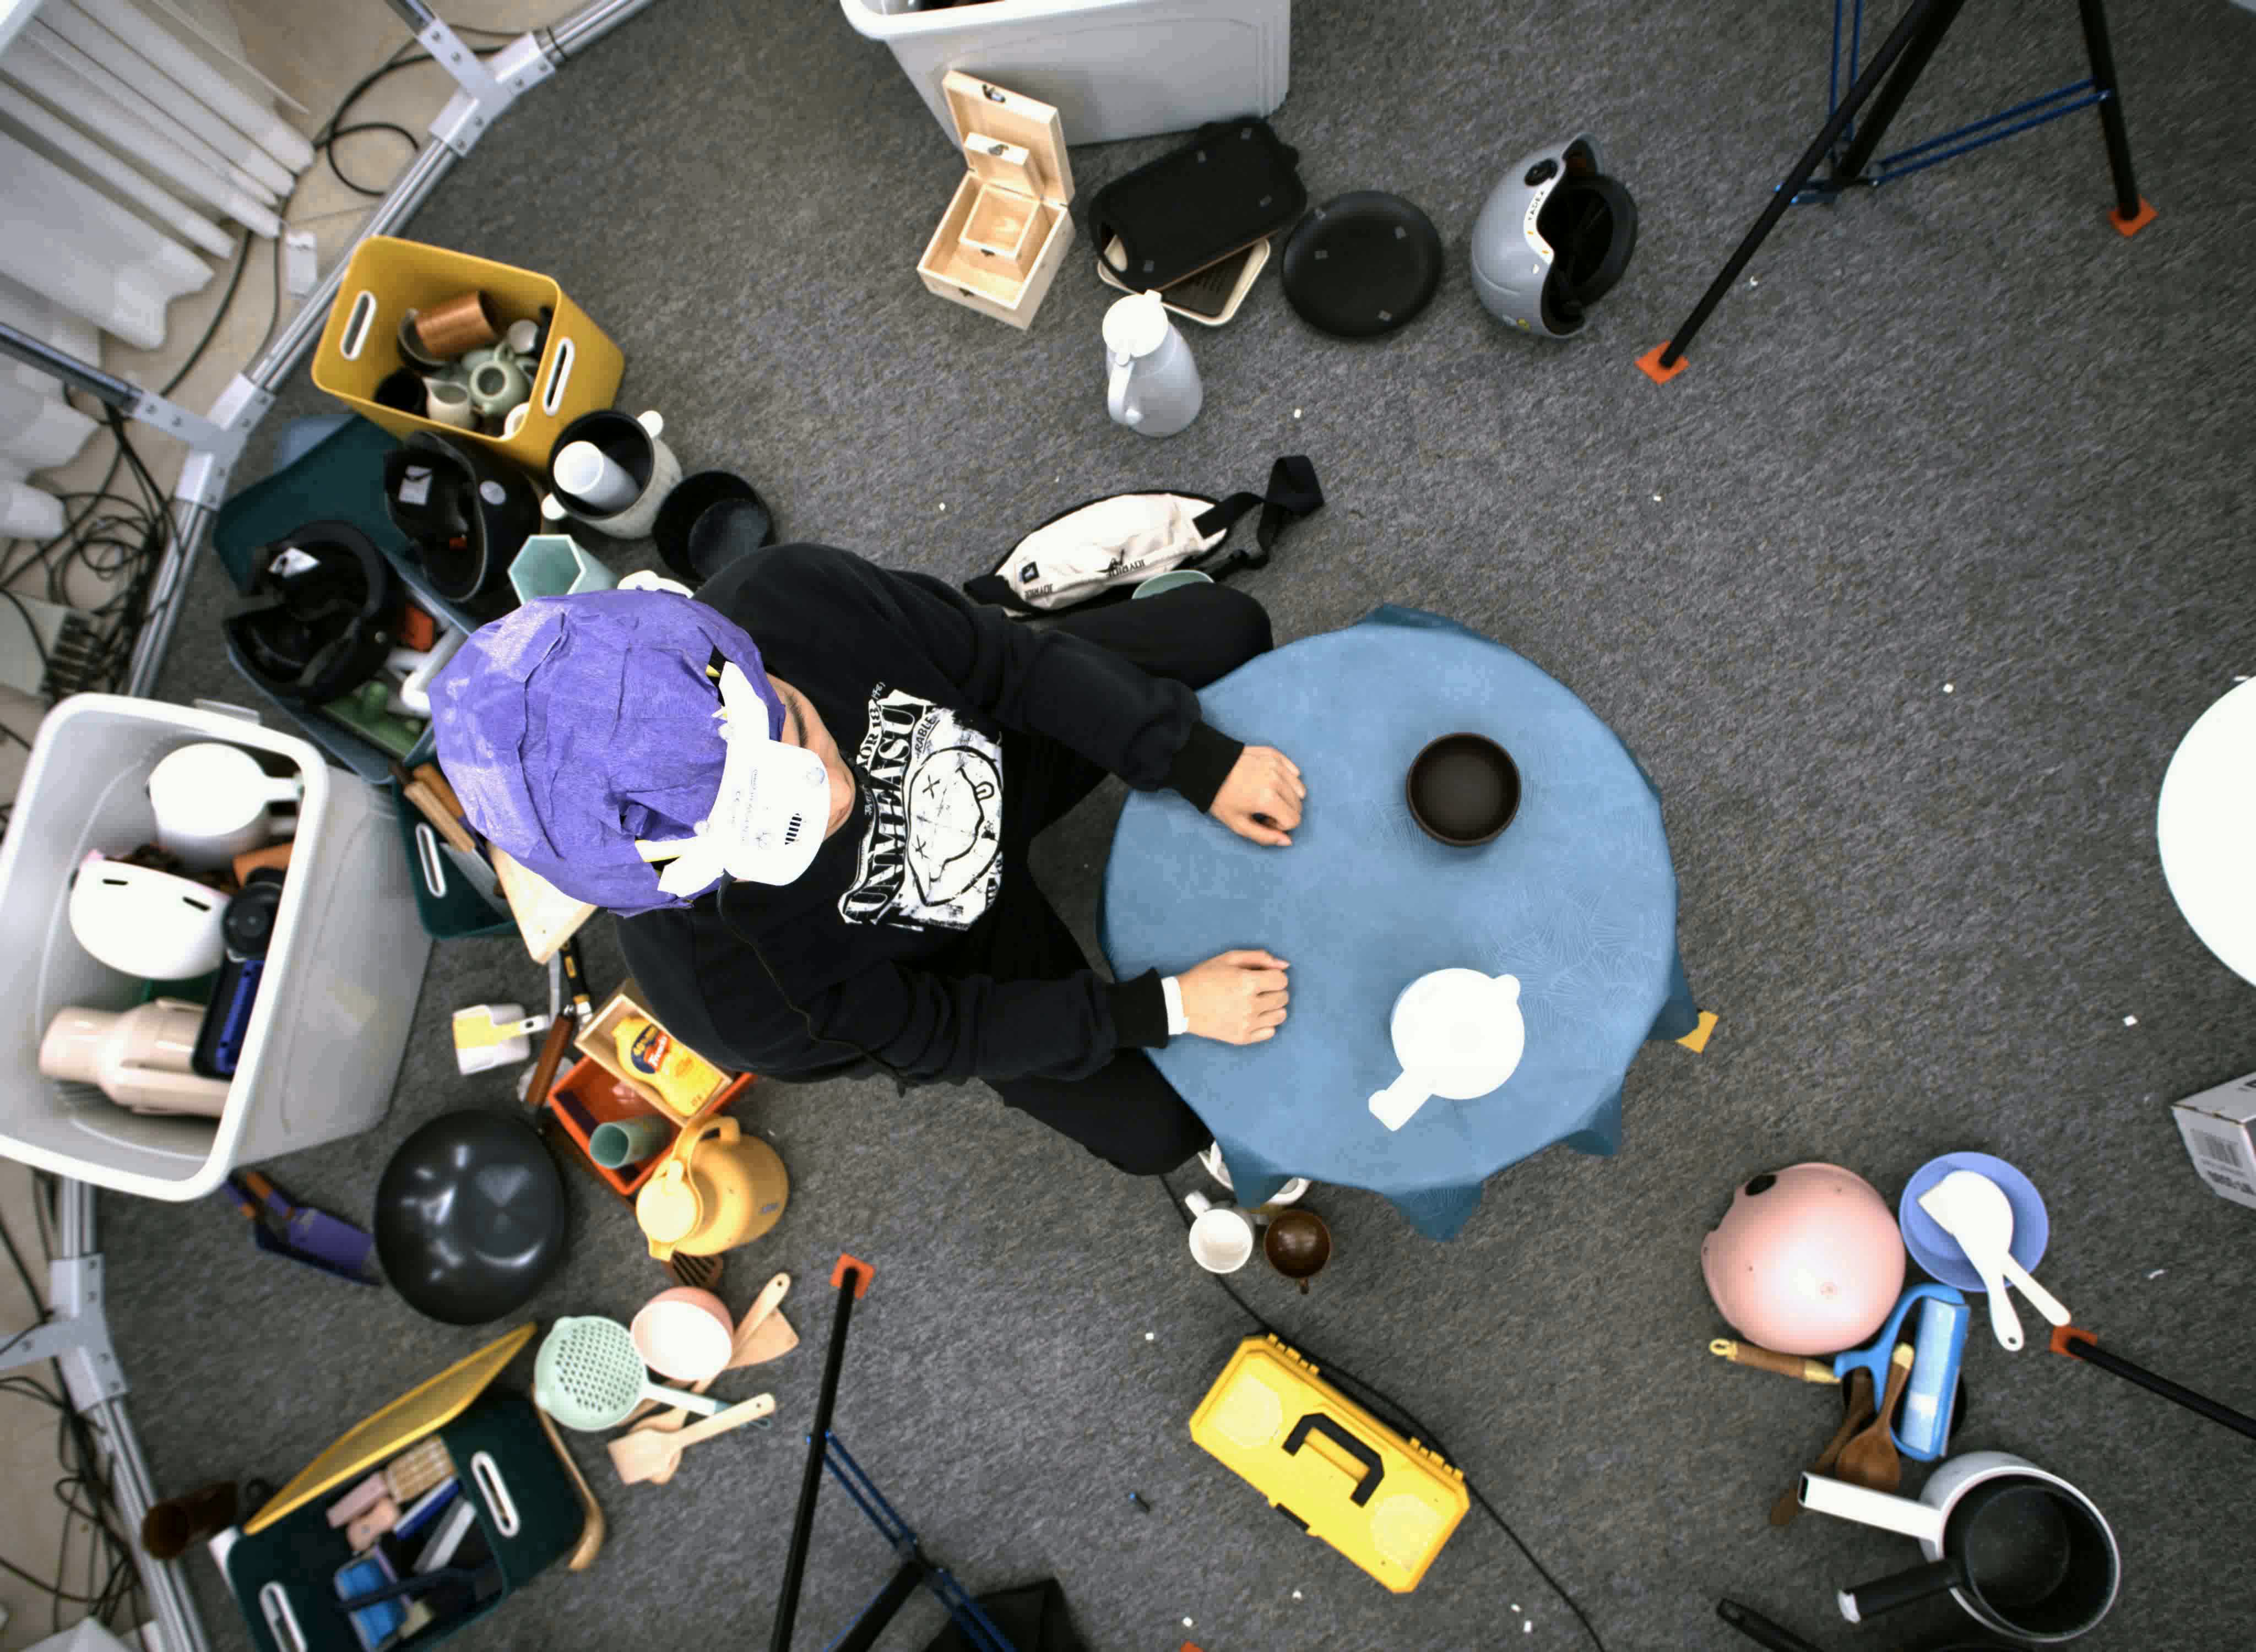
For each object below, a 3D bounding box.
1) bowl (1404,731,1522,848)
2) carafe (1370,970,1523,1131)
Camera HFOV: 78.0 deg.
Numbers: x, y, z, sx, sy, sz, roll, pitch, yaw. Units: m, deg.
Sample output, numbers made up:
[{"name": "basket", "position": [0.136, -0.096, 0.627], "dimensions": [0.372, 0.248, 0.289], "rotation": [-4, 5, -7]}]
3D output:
[{"name": "bowl", "position": [0.344, -0.037, 1.415], "dimensions": [0.118, 0.070, 0.117], "rotation": [-1, 87, 11]}, {"name": "carafe", "position": [0.299, 0.208, 1.314], "dimensions": [0.123, 0.269, 0.173], "rotation": [41, 93, 10]}]
